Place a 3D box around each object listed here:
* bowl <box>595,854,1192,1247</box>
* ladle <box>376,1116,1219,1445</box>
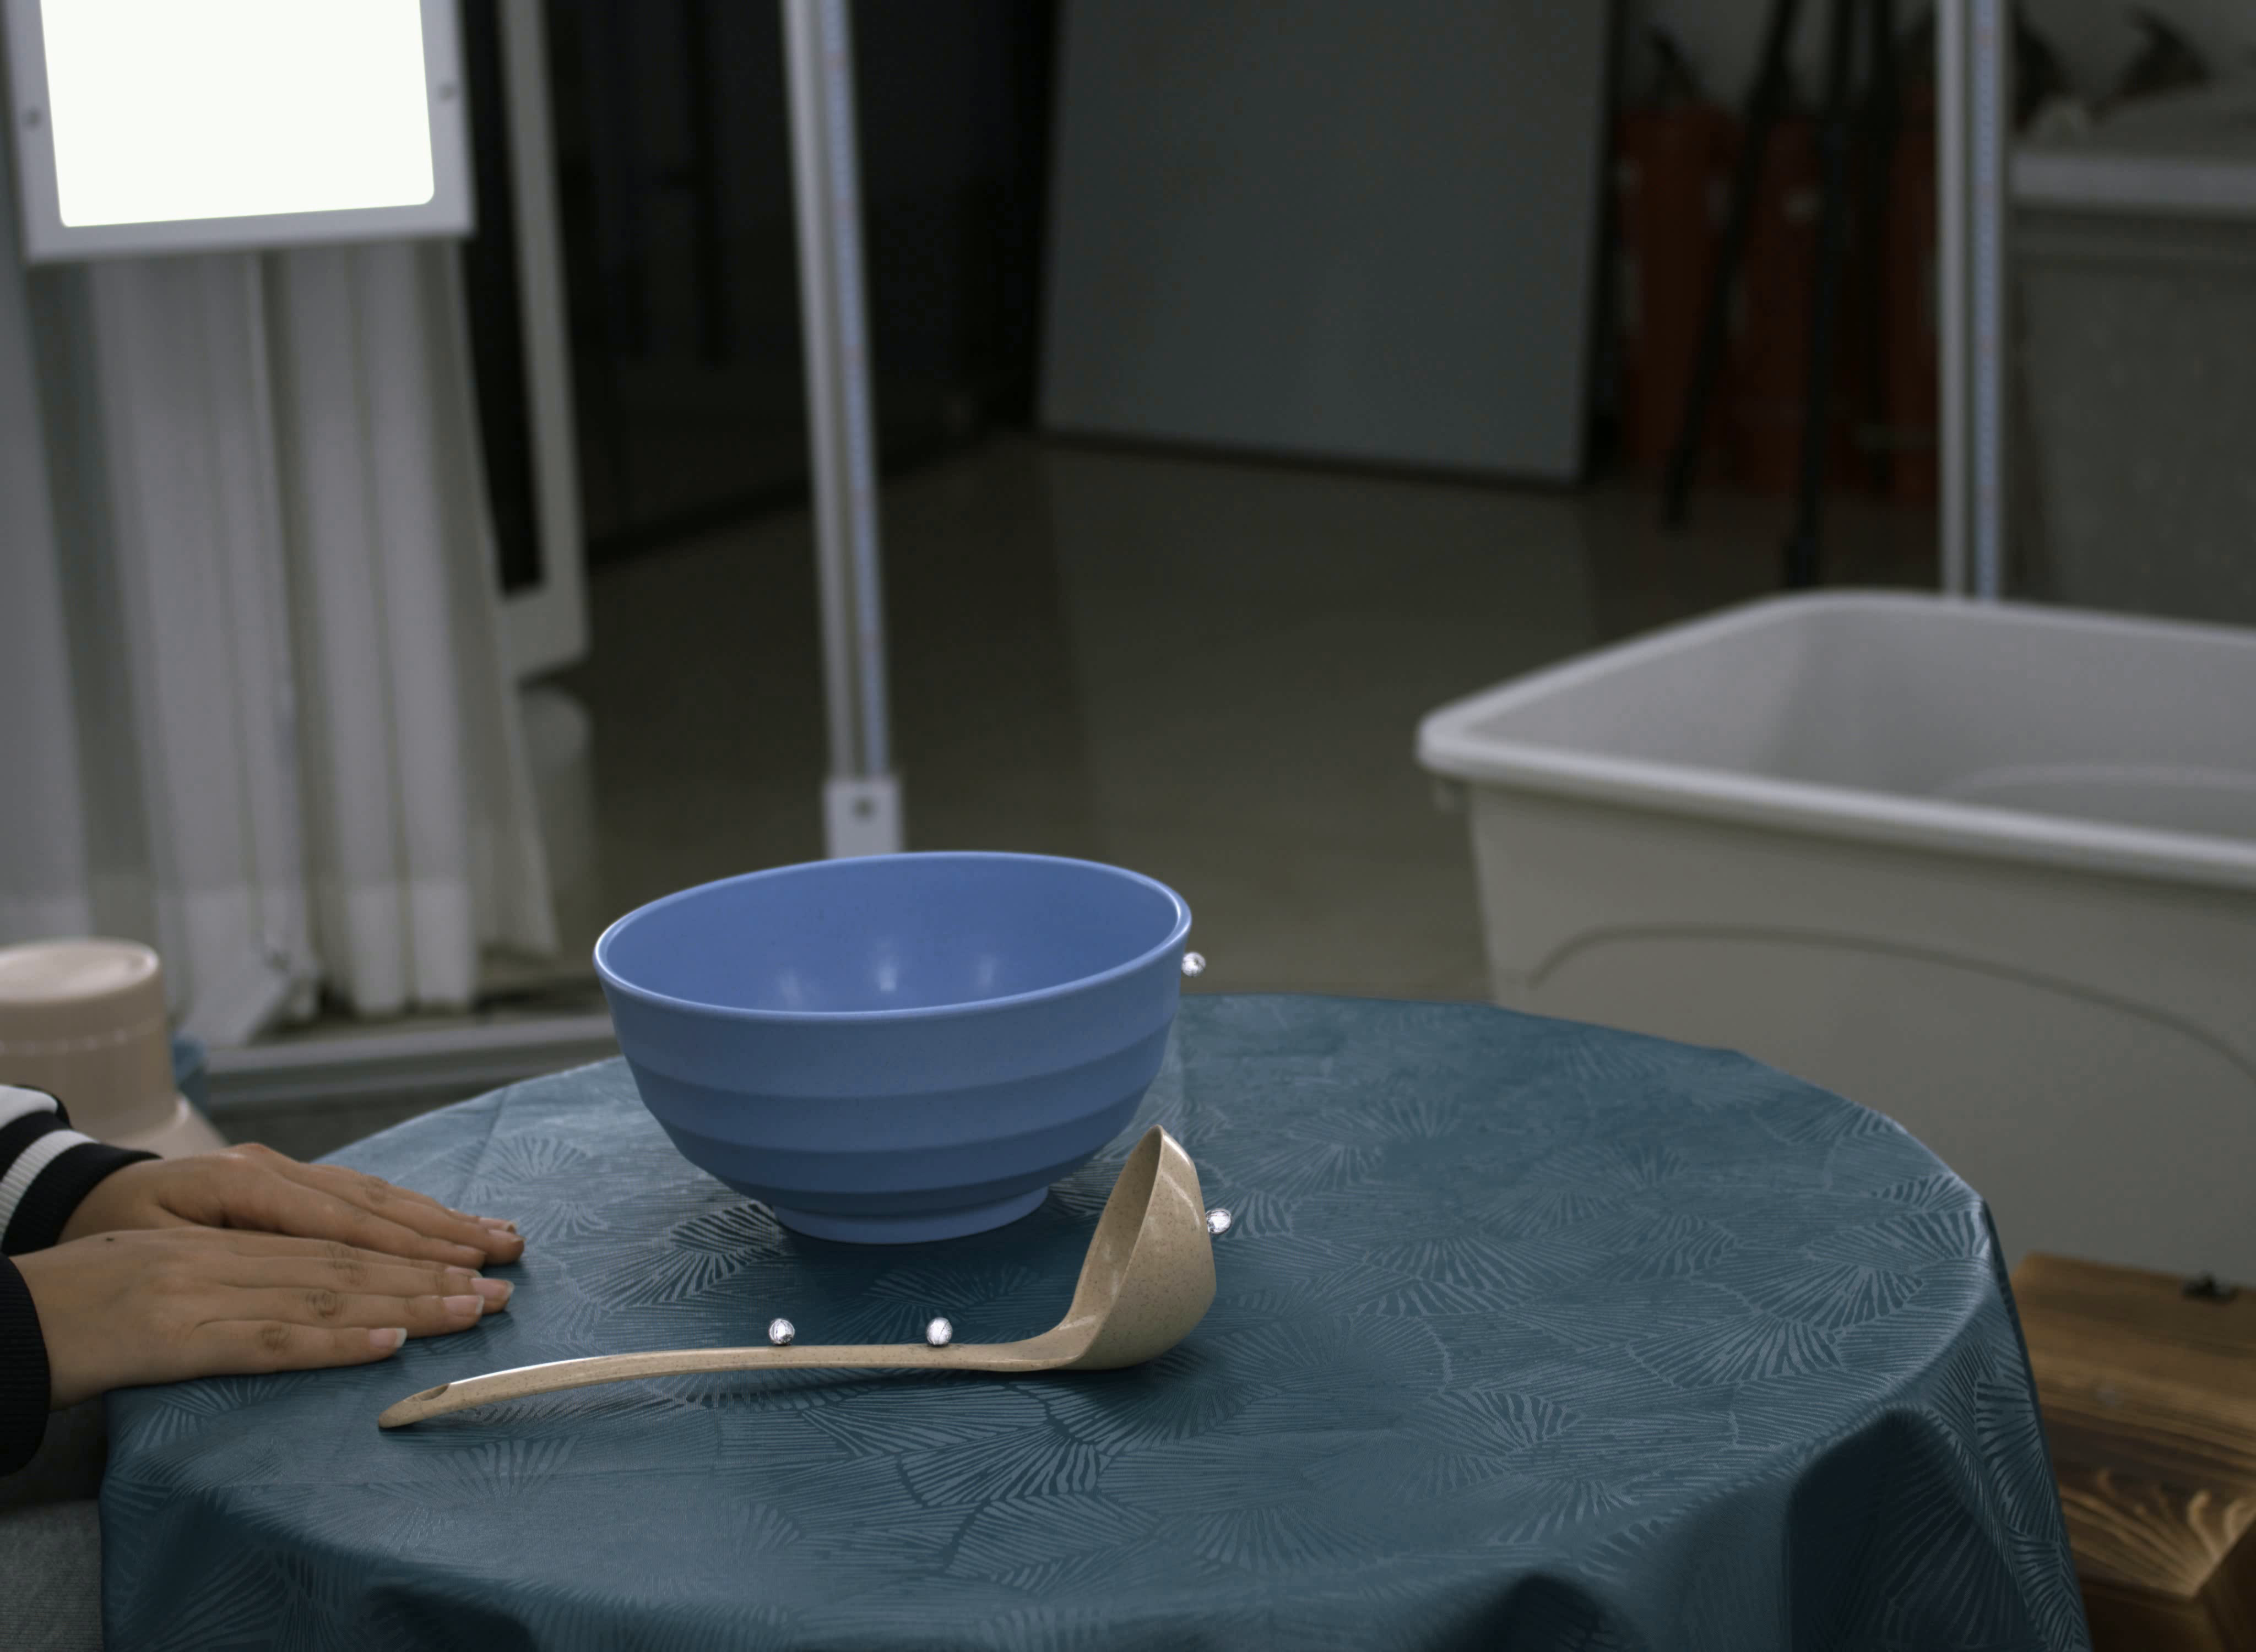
[{"bbox_3d":[-0.075,0.078,1.765,0.194,0.096,0.197,-2,13,0],"label":"bowl"},{"bbox_3d":[-0.099,0.133,1.596,0.250,0.073,0.072,-5,12,-4],"label":"ladle"}]
